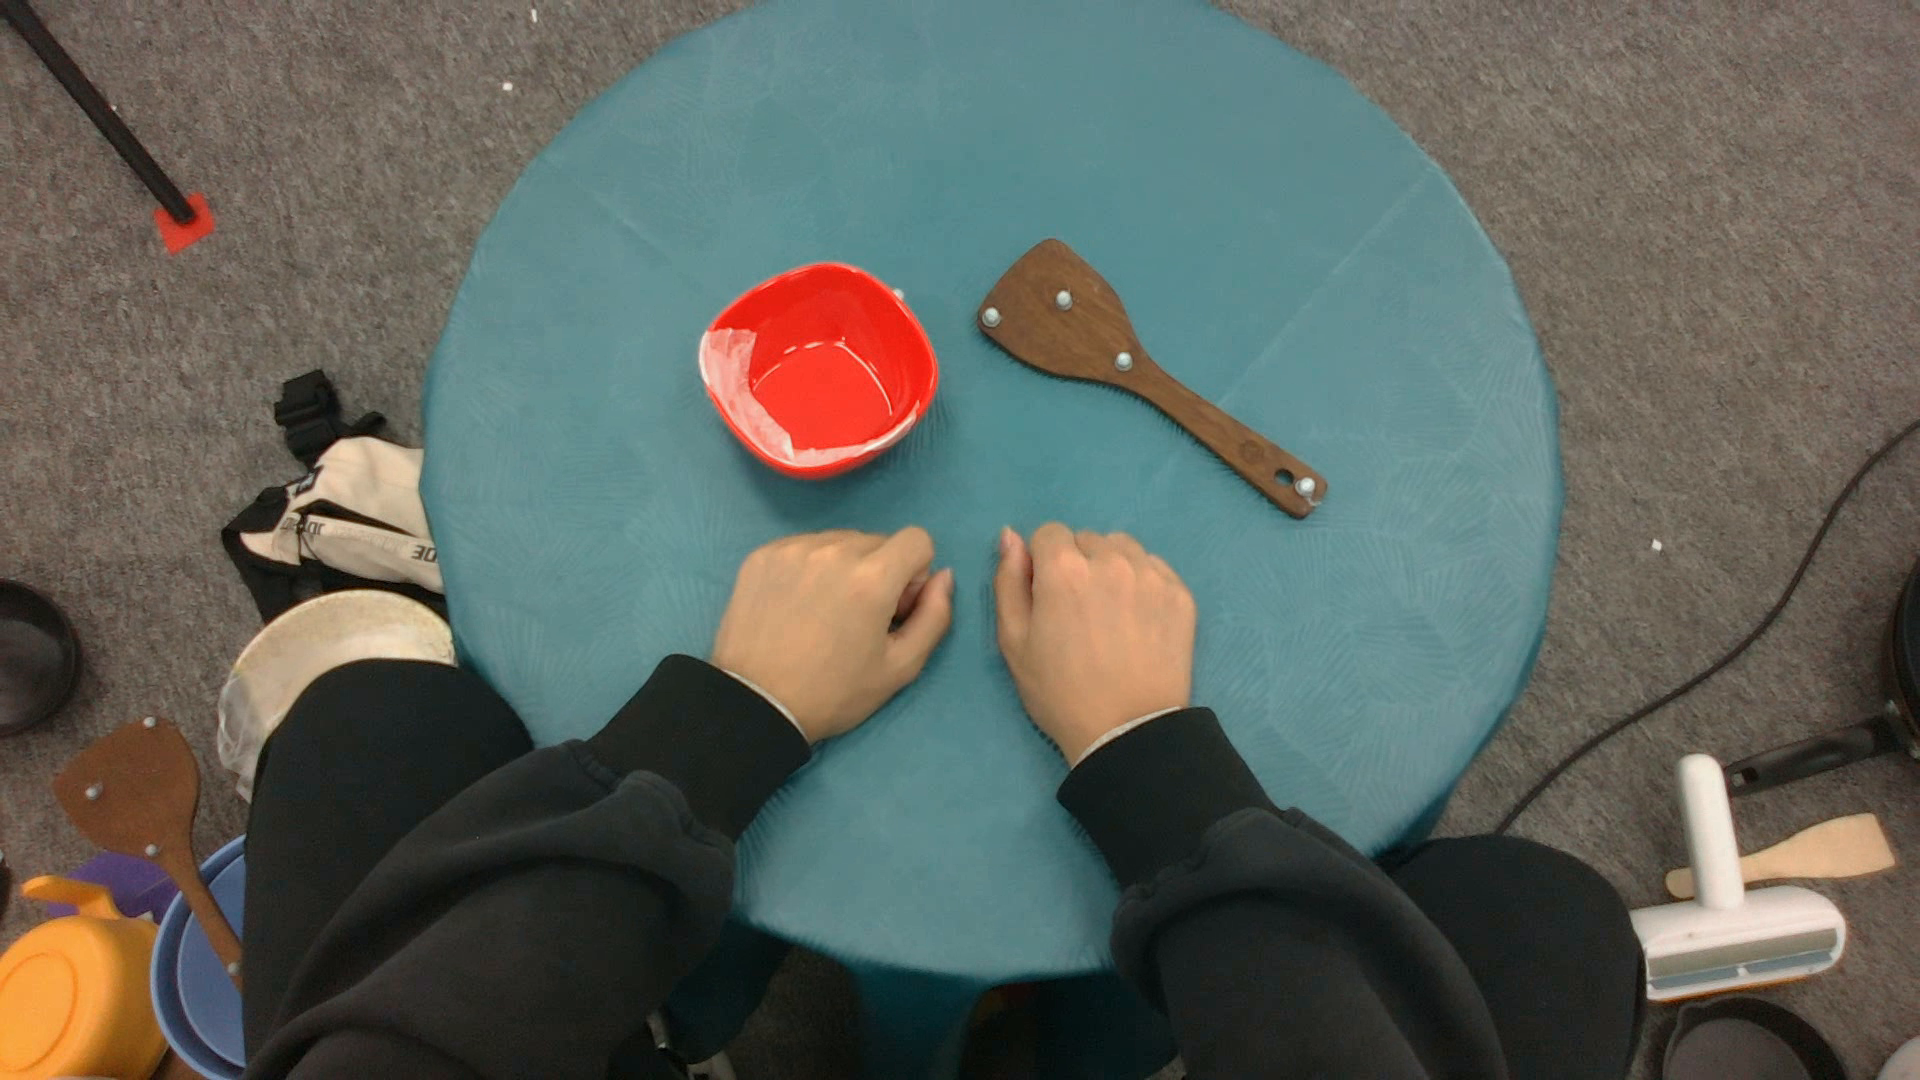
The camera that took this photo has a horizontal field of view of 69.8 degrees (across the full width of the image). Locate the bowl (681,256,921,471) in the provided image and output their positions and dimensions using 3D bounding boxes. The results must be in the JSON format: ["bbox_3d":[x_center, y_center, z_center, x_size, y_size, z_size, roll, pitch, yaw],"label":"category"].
[{"bbox_3d":[-0.080,-0.082,0.702,0.119,0.051,0.119,2,65,-5],"label":"bowl"}]

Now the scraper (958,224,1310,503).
[{"bbox_3d":[0.096,-0.090,0.738,0.211,0.011,0.076,38,71,11],"label":"scraper"}]
